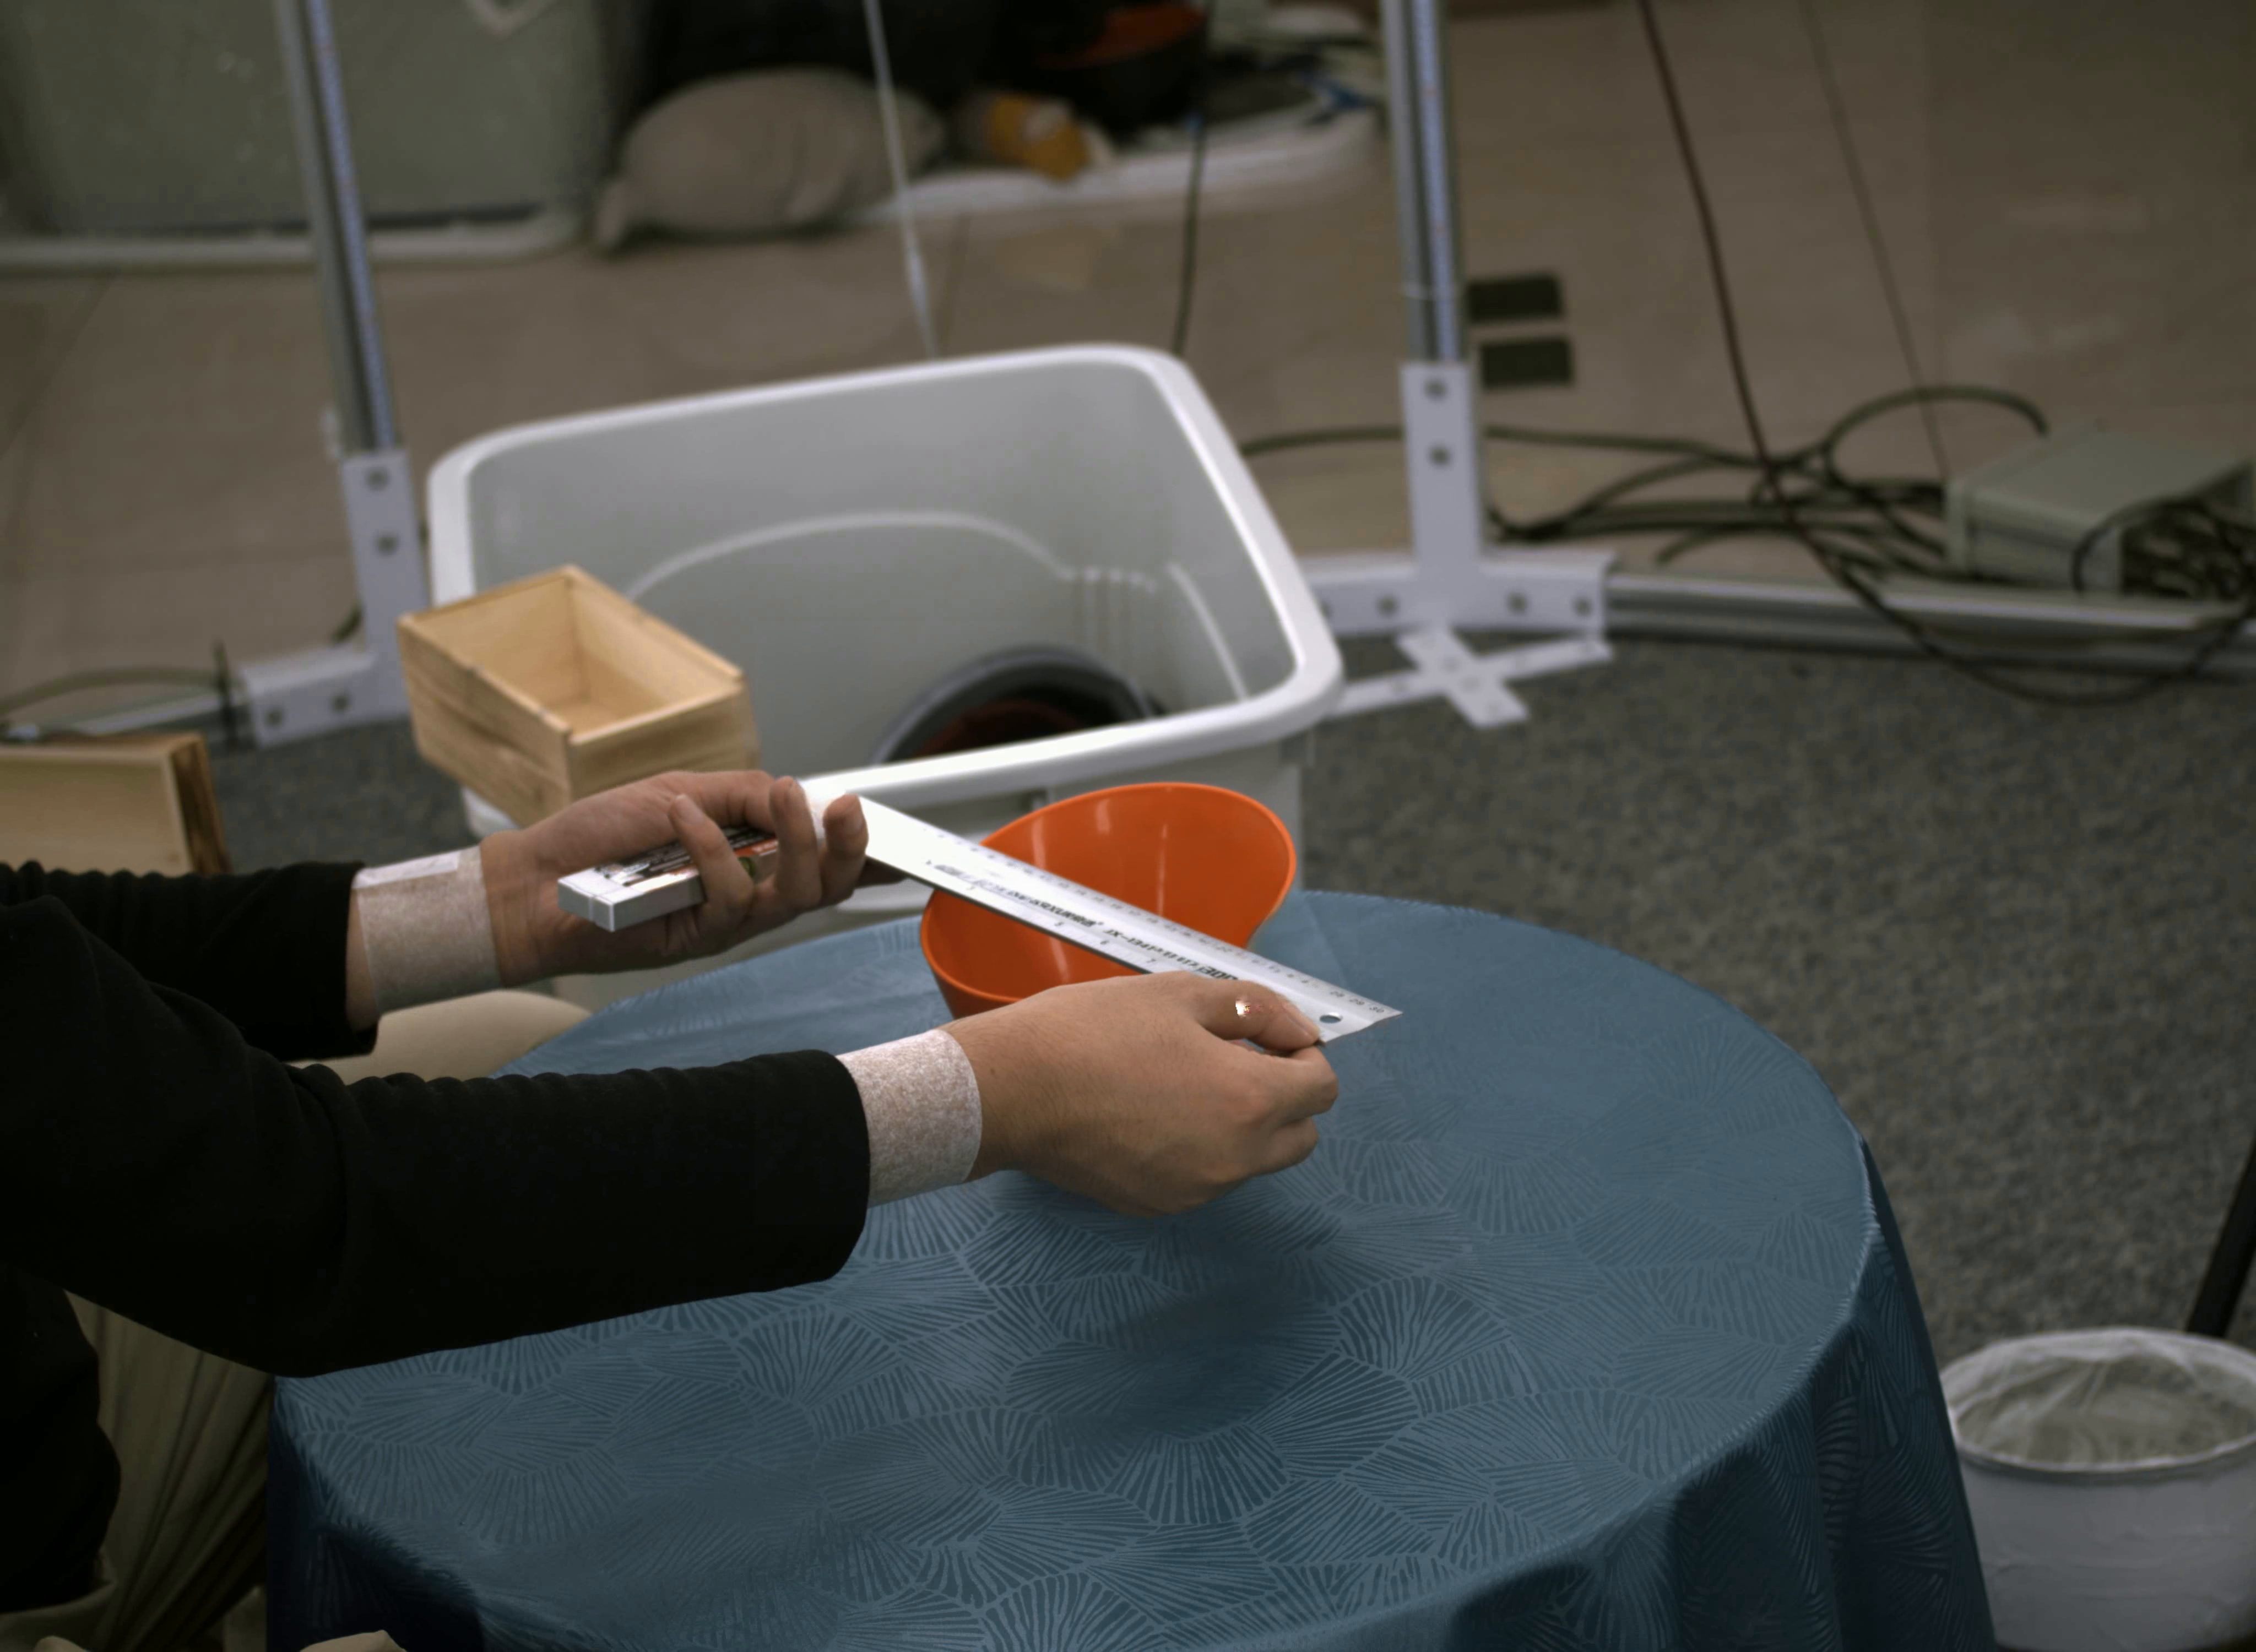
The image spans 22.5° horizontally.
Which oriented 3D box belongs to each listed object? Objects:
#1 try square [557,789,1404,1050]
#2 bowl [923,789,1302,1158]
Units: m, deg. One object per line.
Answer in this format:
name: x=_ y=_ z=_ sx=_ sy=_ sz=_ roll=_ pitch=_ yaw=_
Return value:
try square: x=-0.060 y=0.049 z=2.117 sx=0.151 sy=0.016 sz=0.310 roll=-22 pitch=30 yaw=-38
bowl: x=-0.002 y=0.063 z=2.191 sx=0.148 sy=0.106 sz=0.146 roll=-5 pitch=26 yaw=2
